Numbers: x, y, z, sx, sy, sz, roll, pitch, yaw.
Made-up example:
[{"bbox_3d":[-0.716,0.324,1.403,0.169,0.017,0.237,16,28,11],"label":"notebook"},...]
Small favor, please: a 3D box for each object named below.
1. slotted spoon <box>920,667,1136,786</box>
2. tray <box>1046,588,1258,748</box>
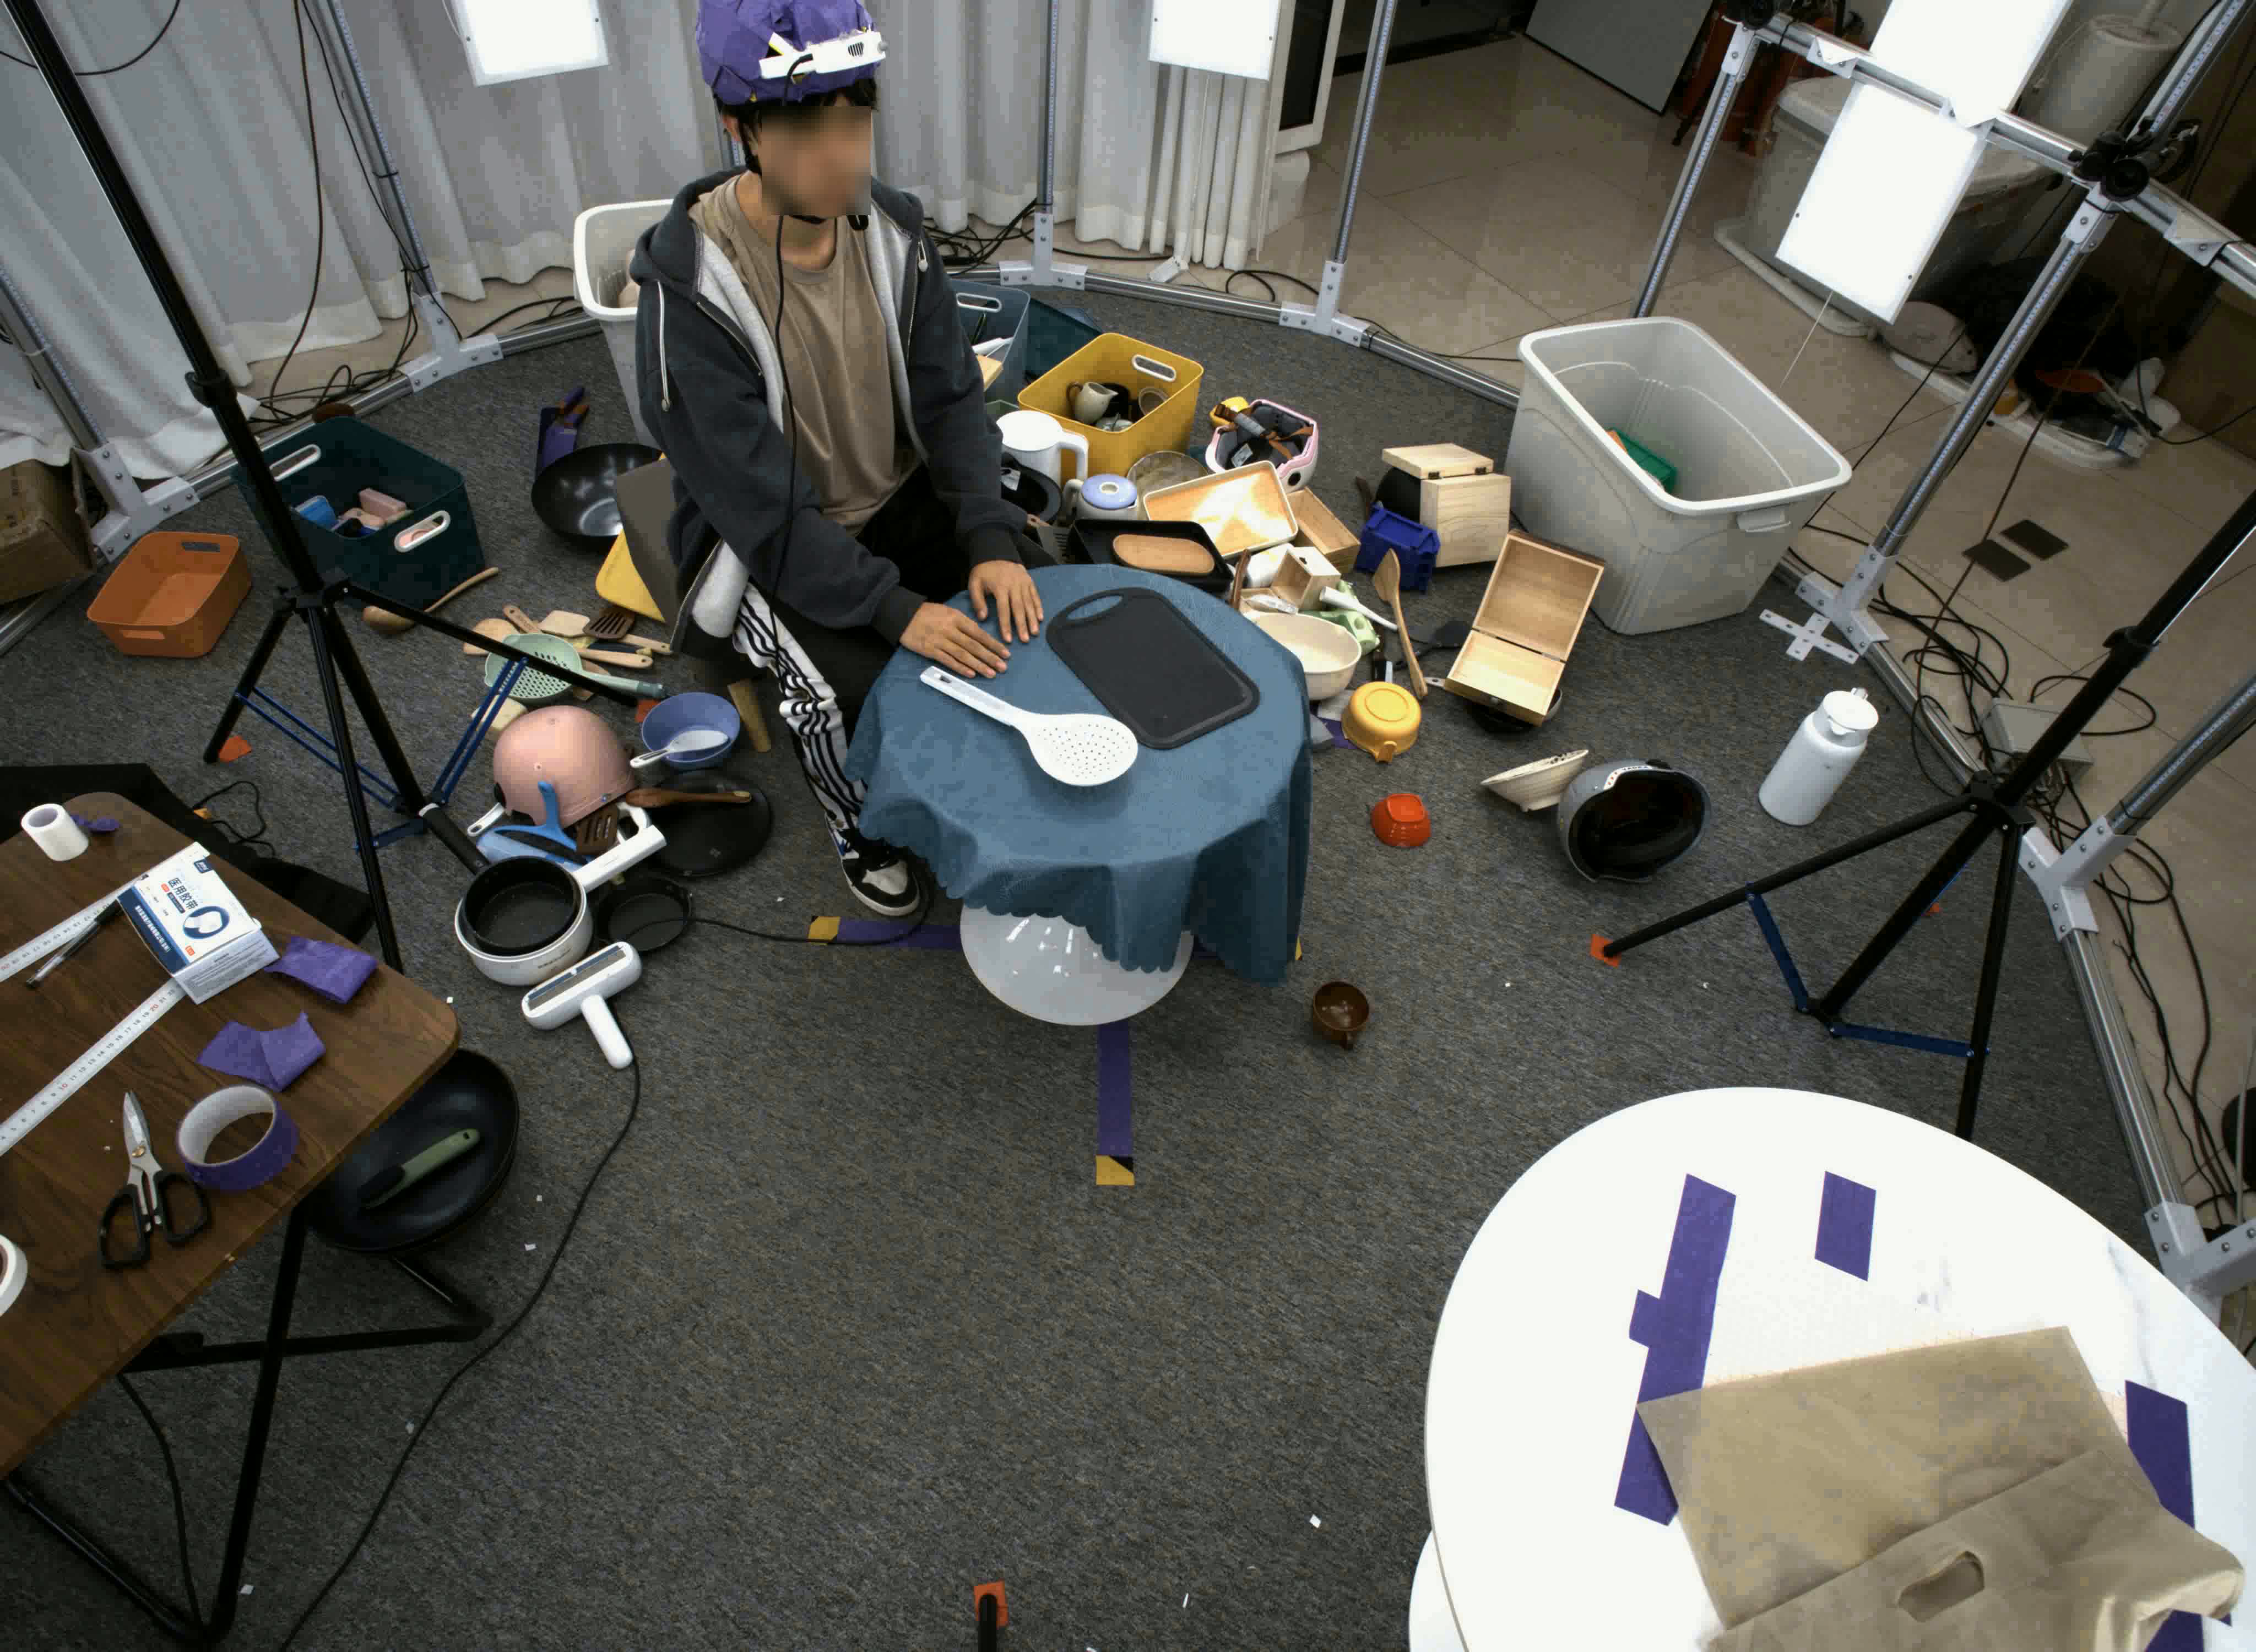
[{"bbox_3d":[-0.145,-0.143,1.751,0.353,0.044,0.138,30,51,22],"label":"slotted spoon"},{"bbox_3d":[0.027,-0.243,1.875,0.212,0.009,0.332,-25,55,-23],"label":"tray"}]
